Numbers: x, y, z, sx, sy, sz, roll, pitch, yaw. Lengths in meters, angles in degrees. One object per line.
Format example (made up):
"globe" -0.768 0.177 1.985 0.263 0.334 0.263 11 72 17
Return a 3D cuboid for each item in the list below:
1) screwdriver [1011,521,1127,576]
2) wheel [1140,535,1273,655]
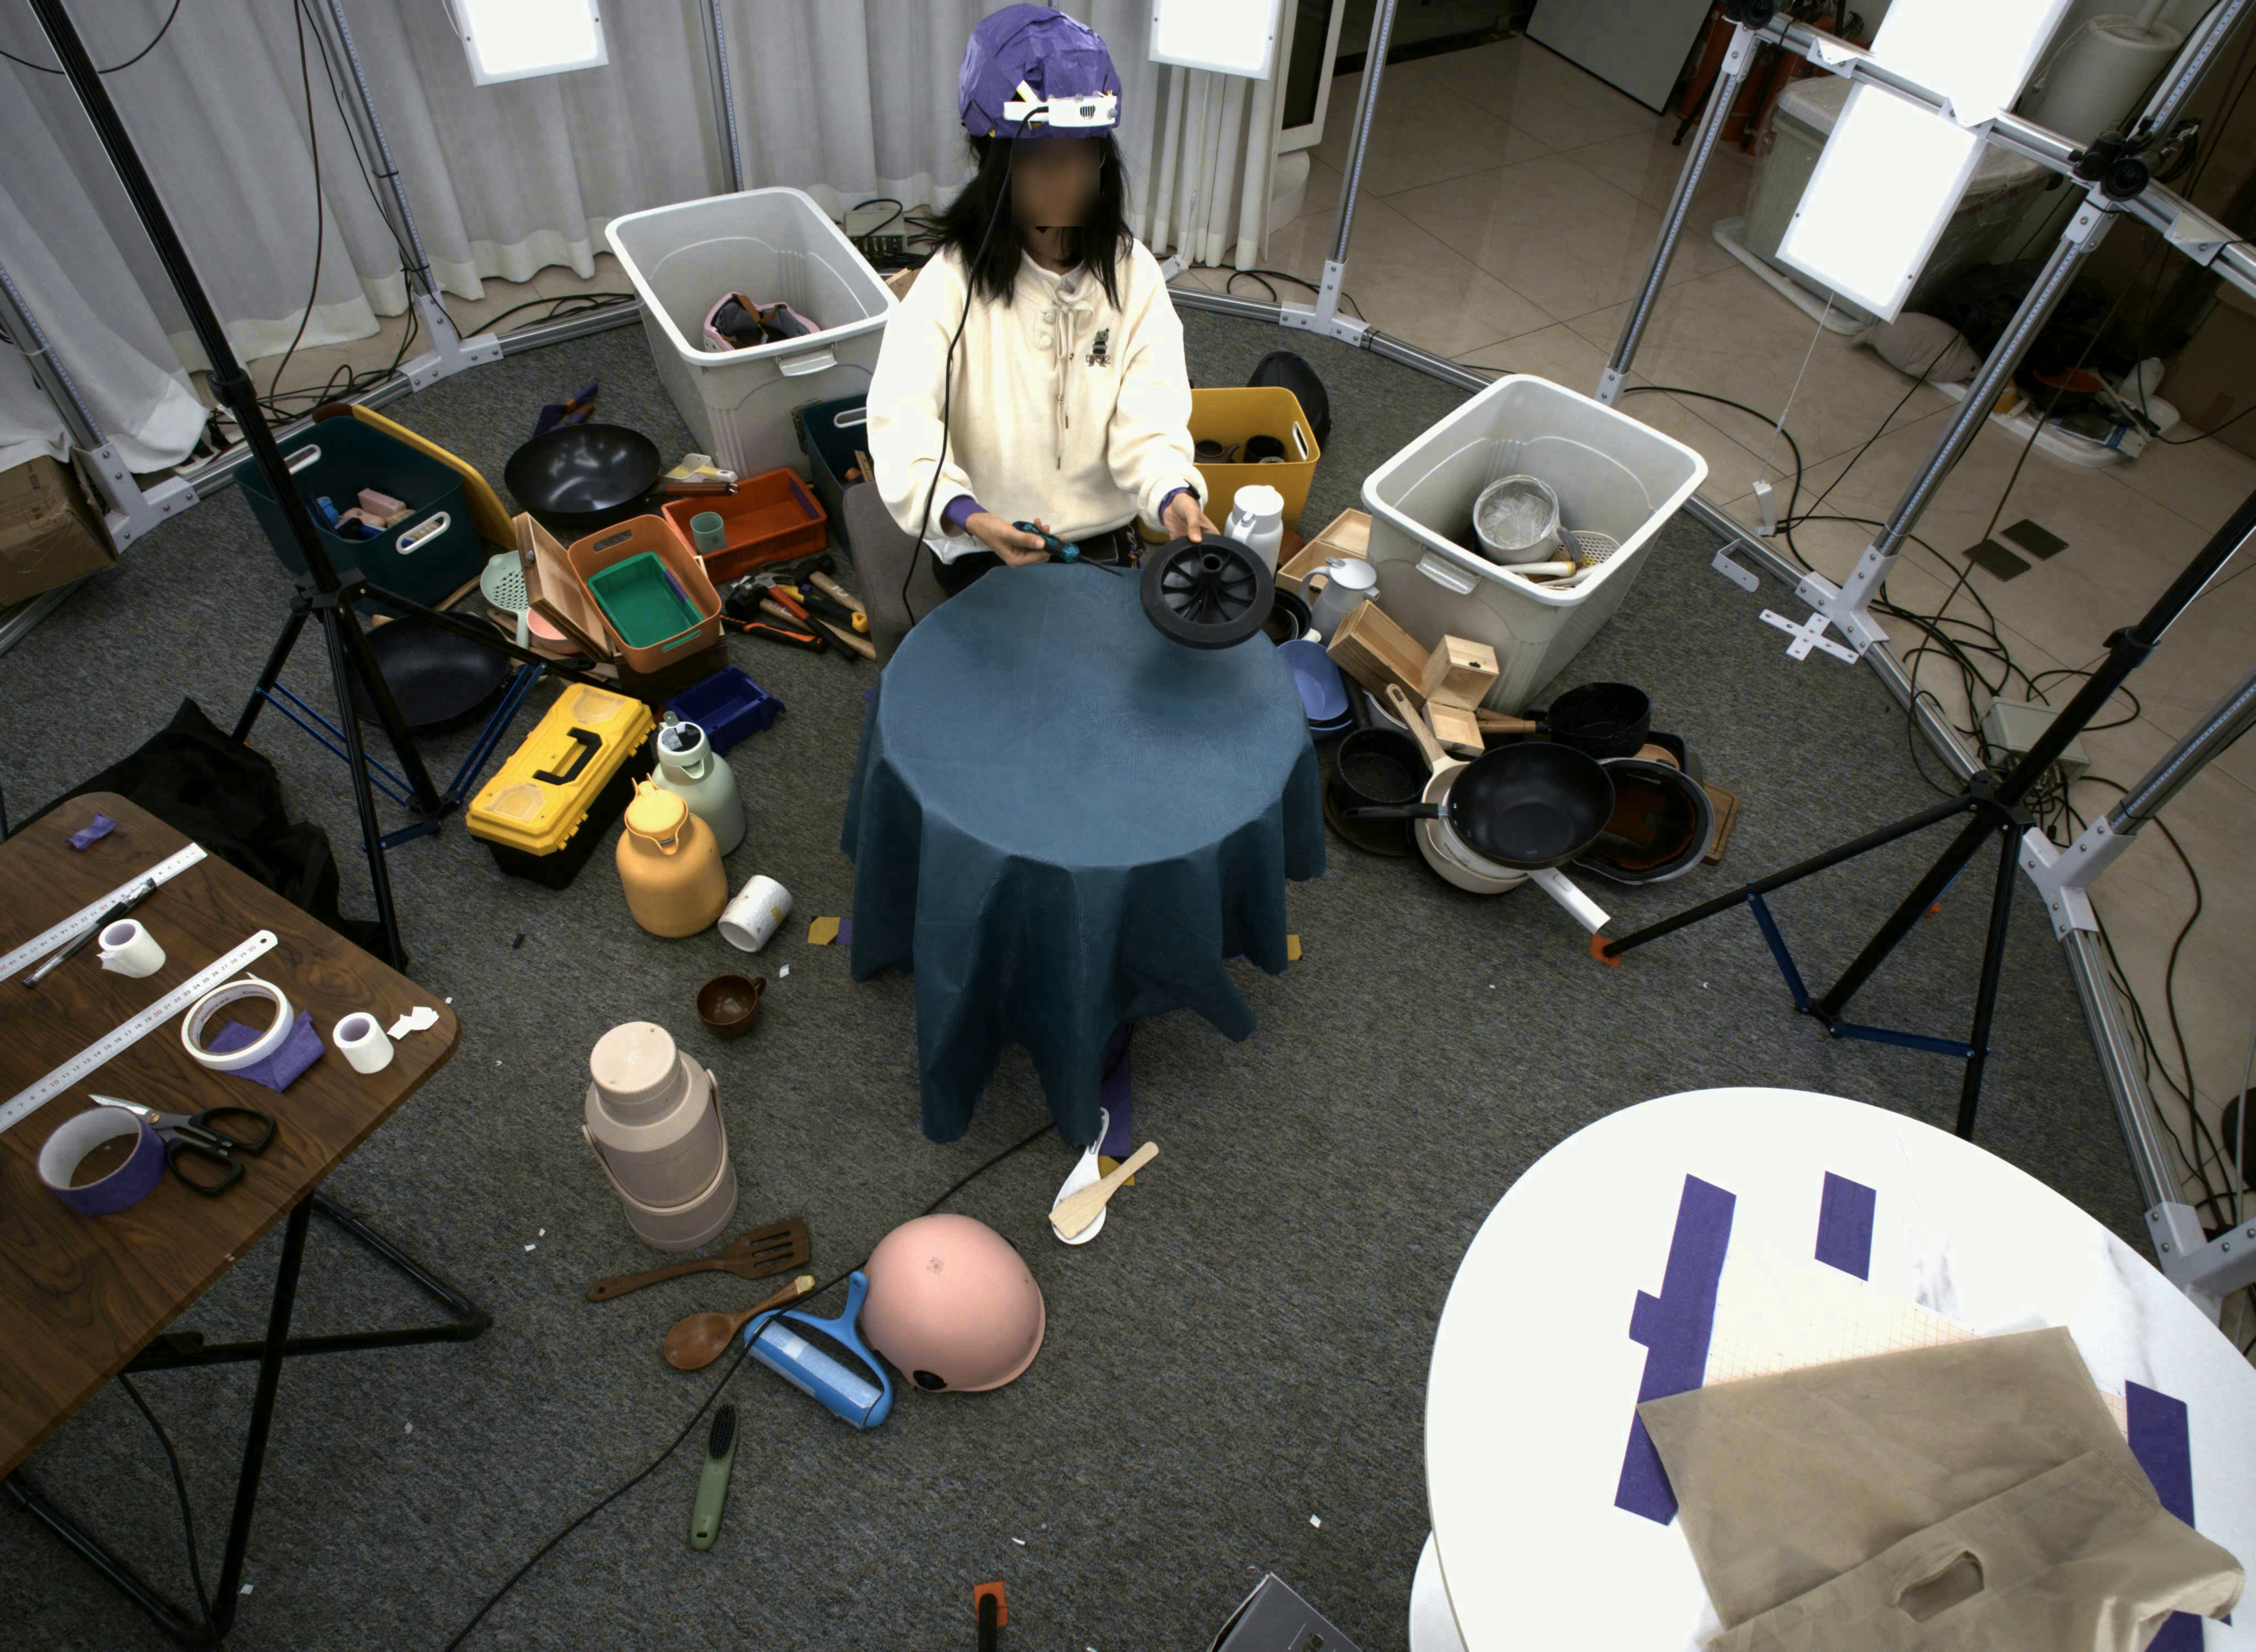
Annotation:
"screwdriver" -0.080 -0.380 1.776 0.192 0.033 0.034 26 52 25
"wheel" 0.111 -0.335 1.782 0.187 0.077 0.193 7 64 1
